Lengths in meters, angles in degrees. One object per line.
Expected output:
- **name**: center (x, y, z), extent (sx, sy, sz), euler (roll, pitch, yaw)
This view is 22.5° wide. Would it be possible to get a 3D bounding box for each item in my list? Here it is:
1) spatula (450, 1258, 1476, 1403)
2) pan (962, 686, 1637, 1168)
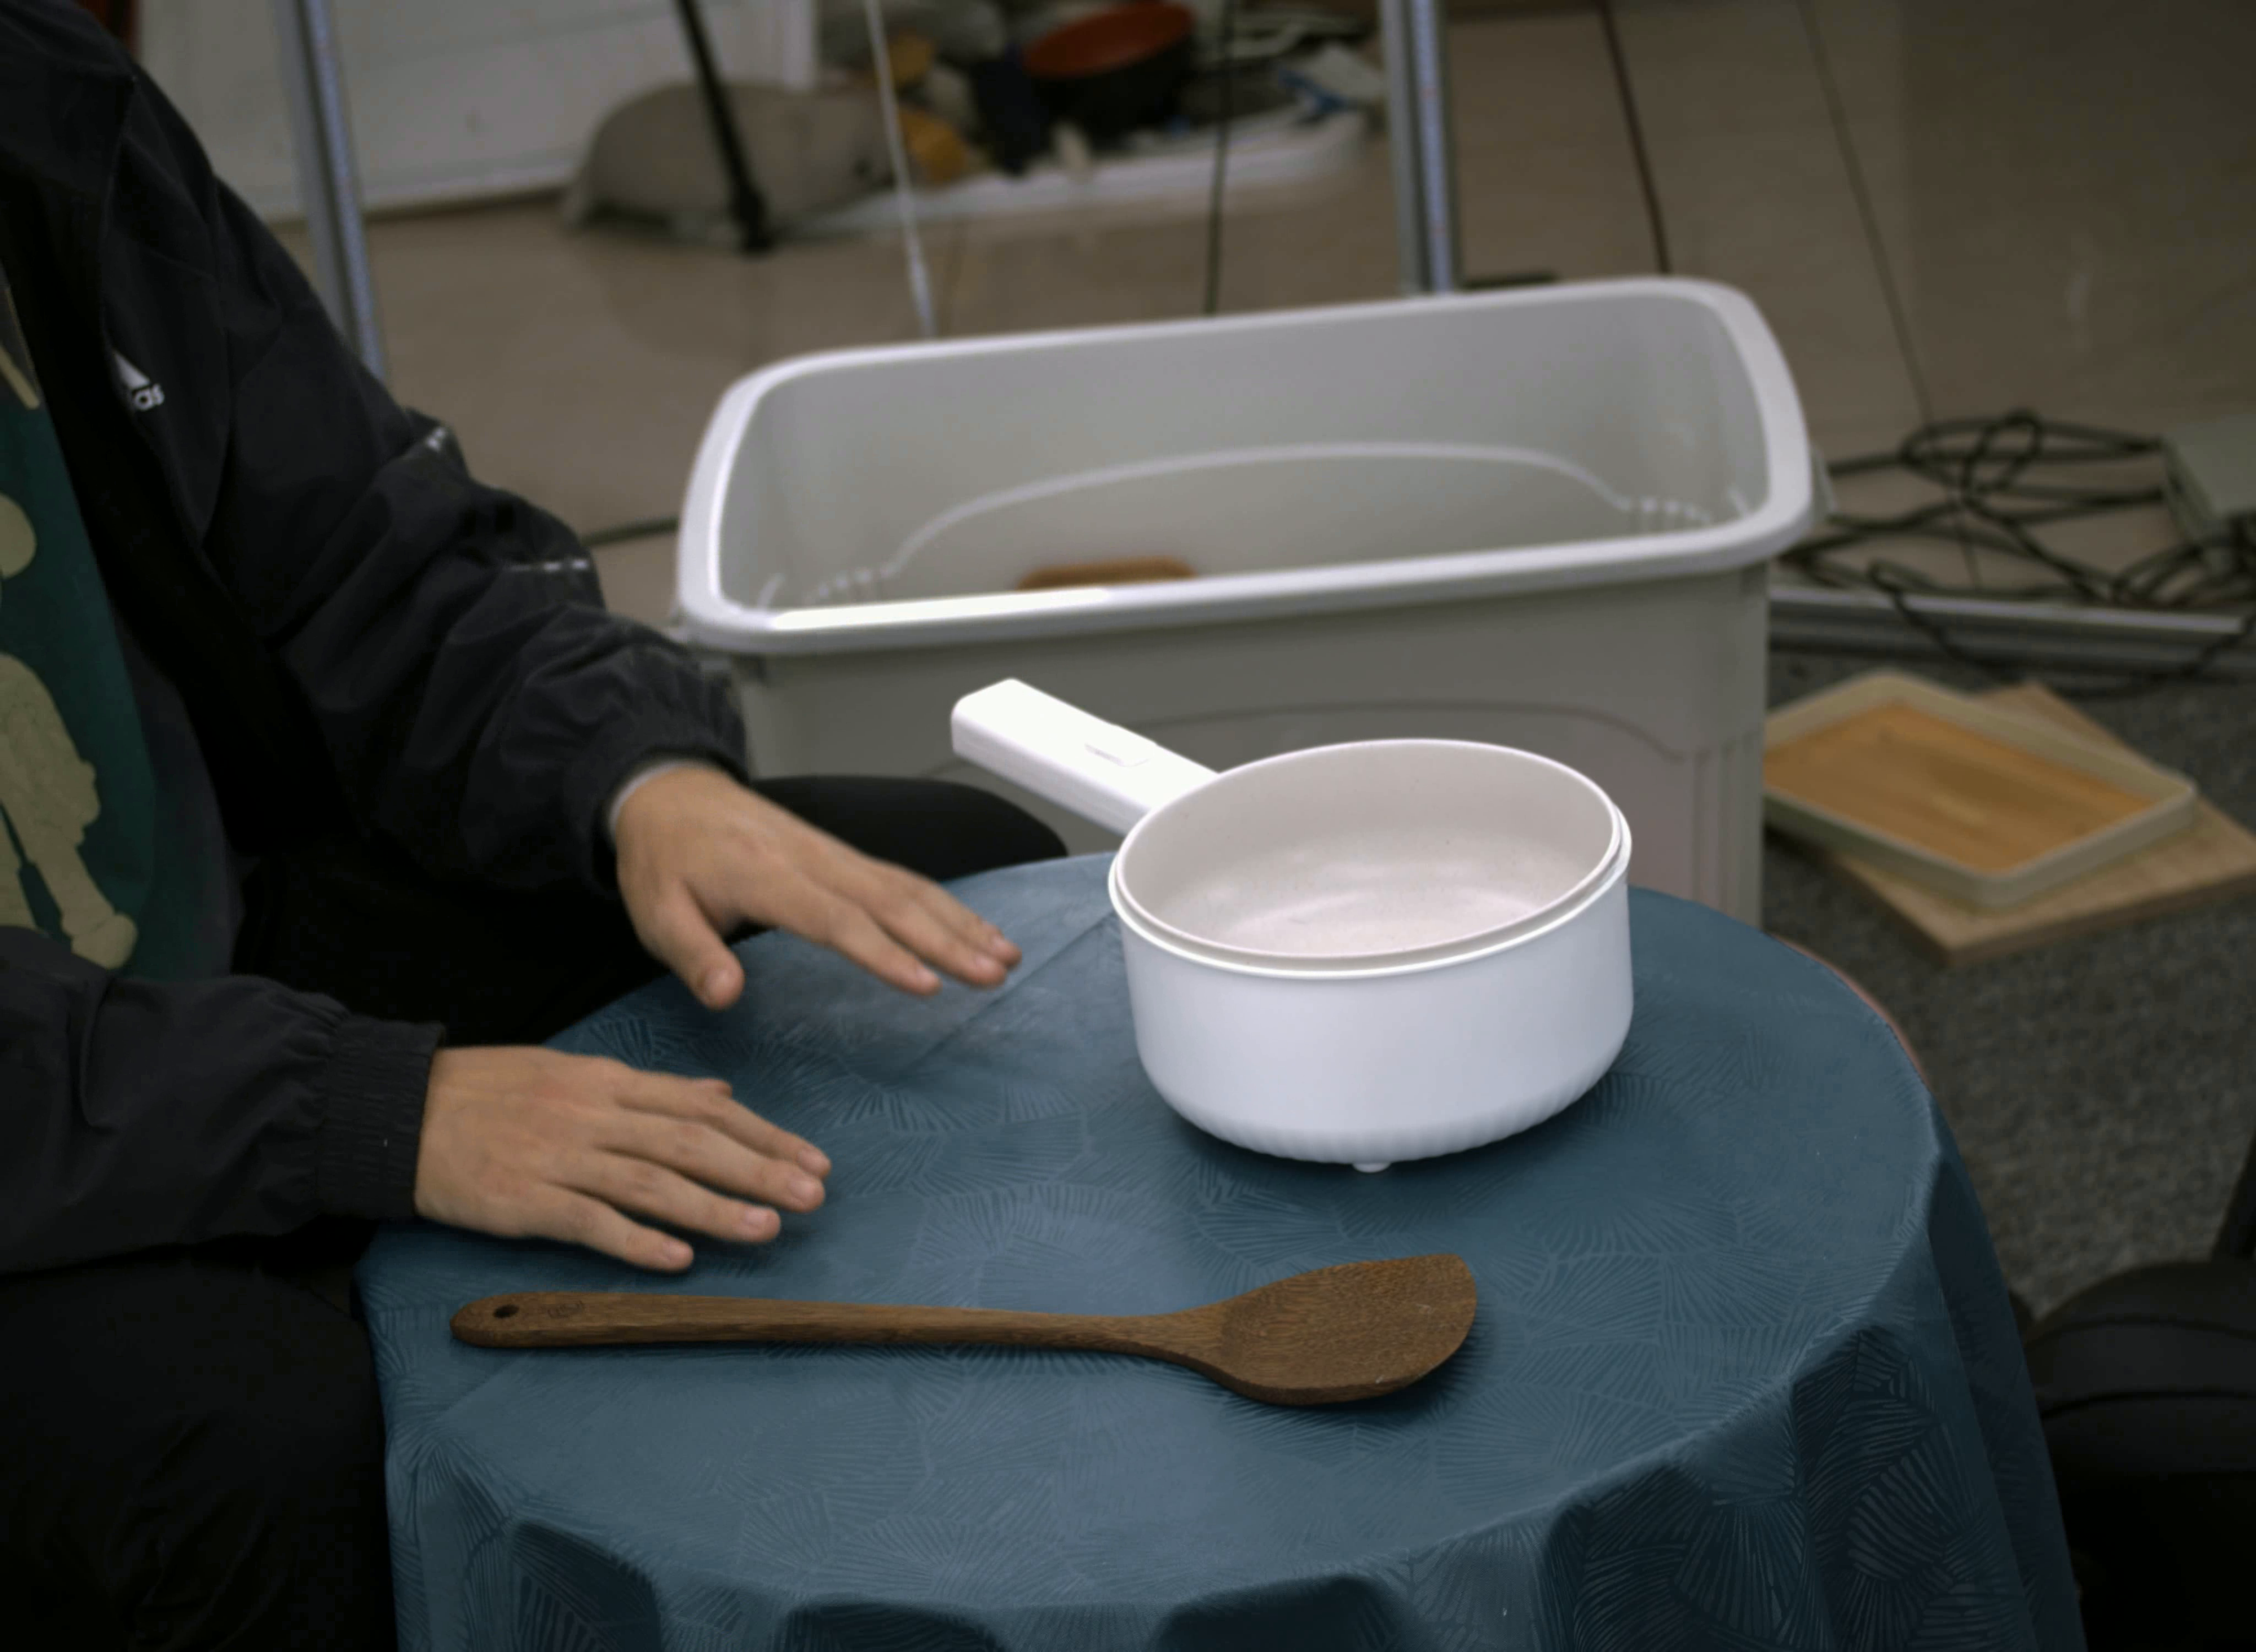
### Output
- **spatula**: center (-0.065, 0.181, 2.056), extent (0.385, 0.016, 0.095), euler (0, 25, 14)
- **pan**: center (0.052, 0.033, 2.247), extent (0.200, 0.103, 0.351), euler (-23, 28, -31)
